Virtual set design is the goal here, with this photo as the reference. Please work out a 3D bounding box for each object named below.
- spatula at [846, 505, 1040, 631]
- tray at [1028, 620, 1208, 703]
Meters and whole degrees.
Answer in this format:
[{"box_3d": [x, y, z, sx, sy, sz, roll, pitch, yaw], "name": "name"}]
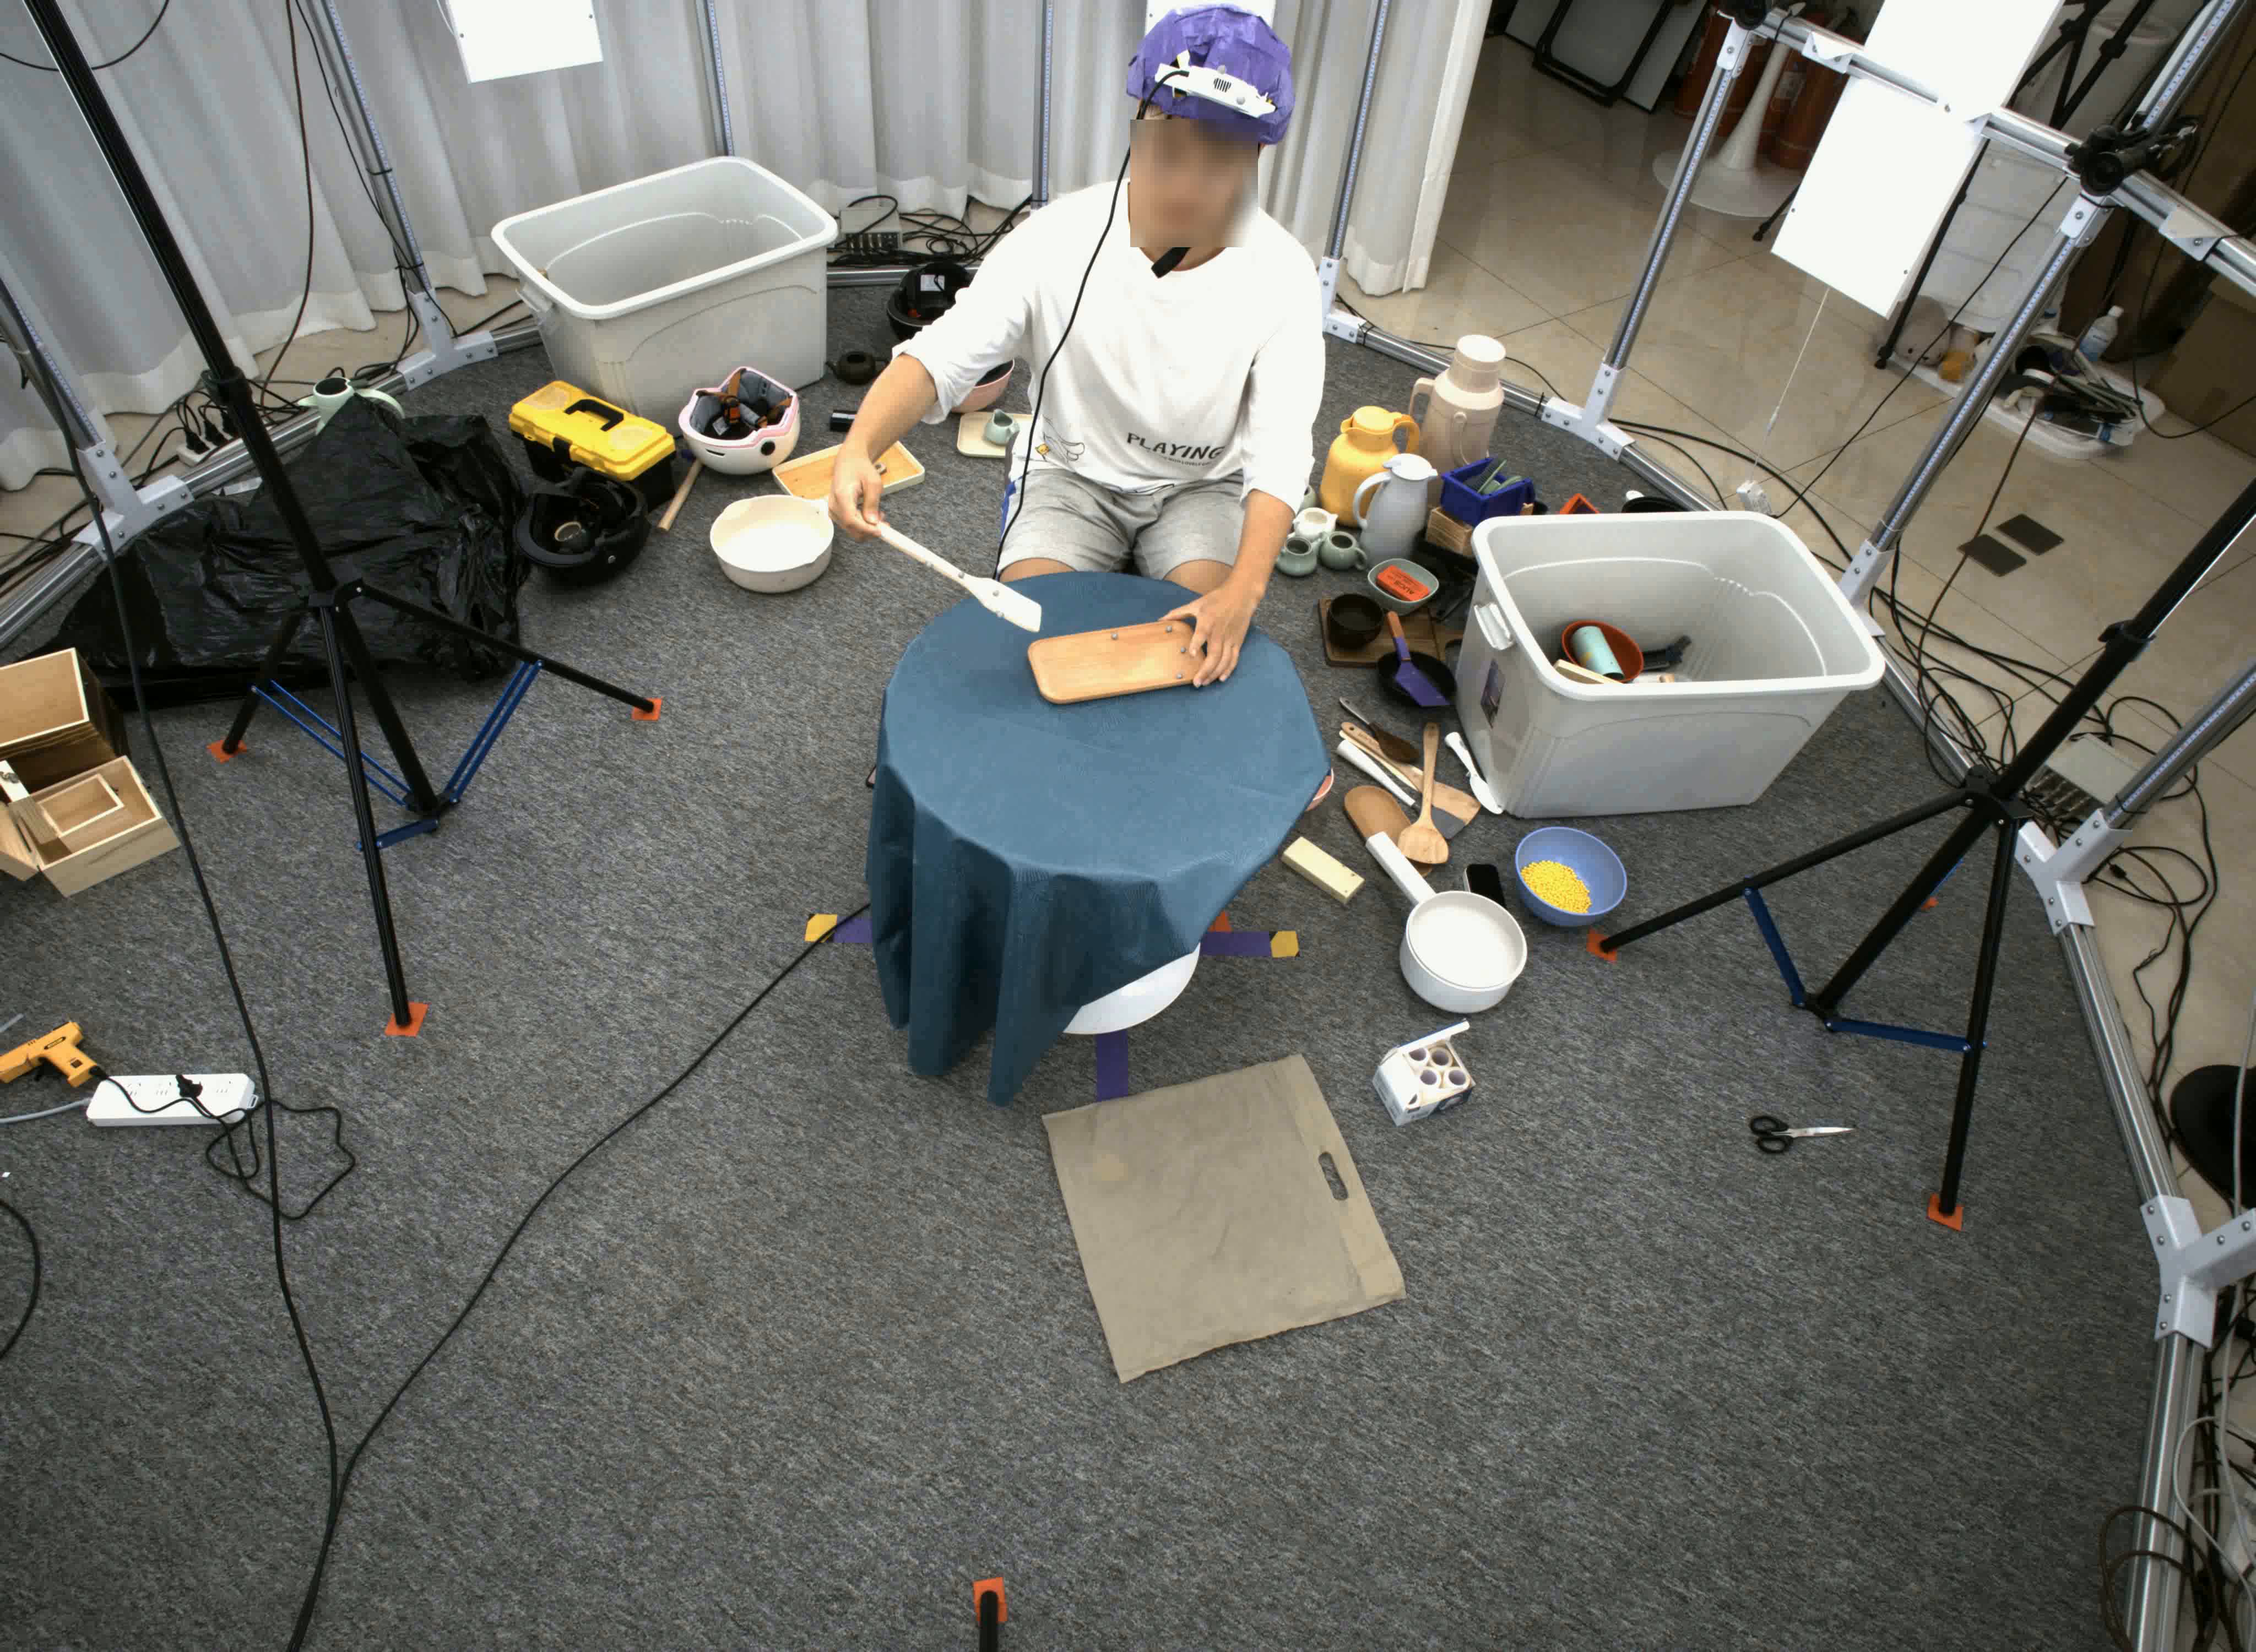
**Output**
[{"box_3d": [-0.246, -0.349, 1.738, 0.290, 0.010, 0.074, 28, 36, -20], "name": "spatula"}, {"box_3d": [-0.015, -0.239, 1.861, 0.250, 0.022, 0.134, -10, 48, -12], "name": "tray"}]
